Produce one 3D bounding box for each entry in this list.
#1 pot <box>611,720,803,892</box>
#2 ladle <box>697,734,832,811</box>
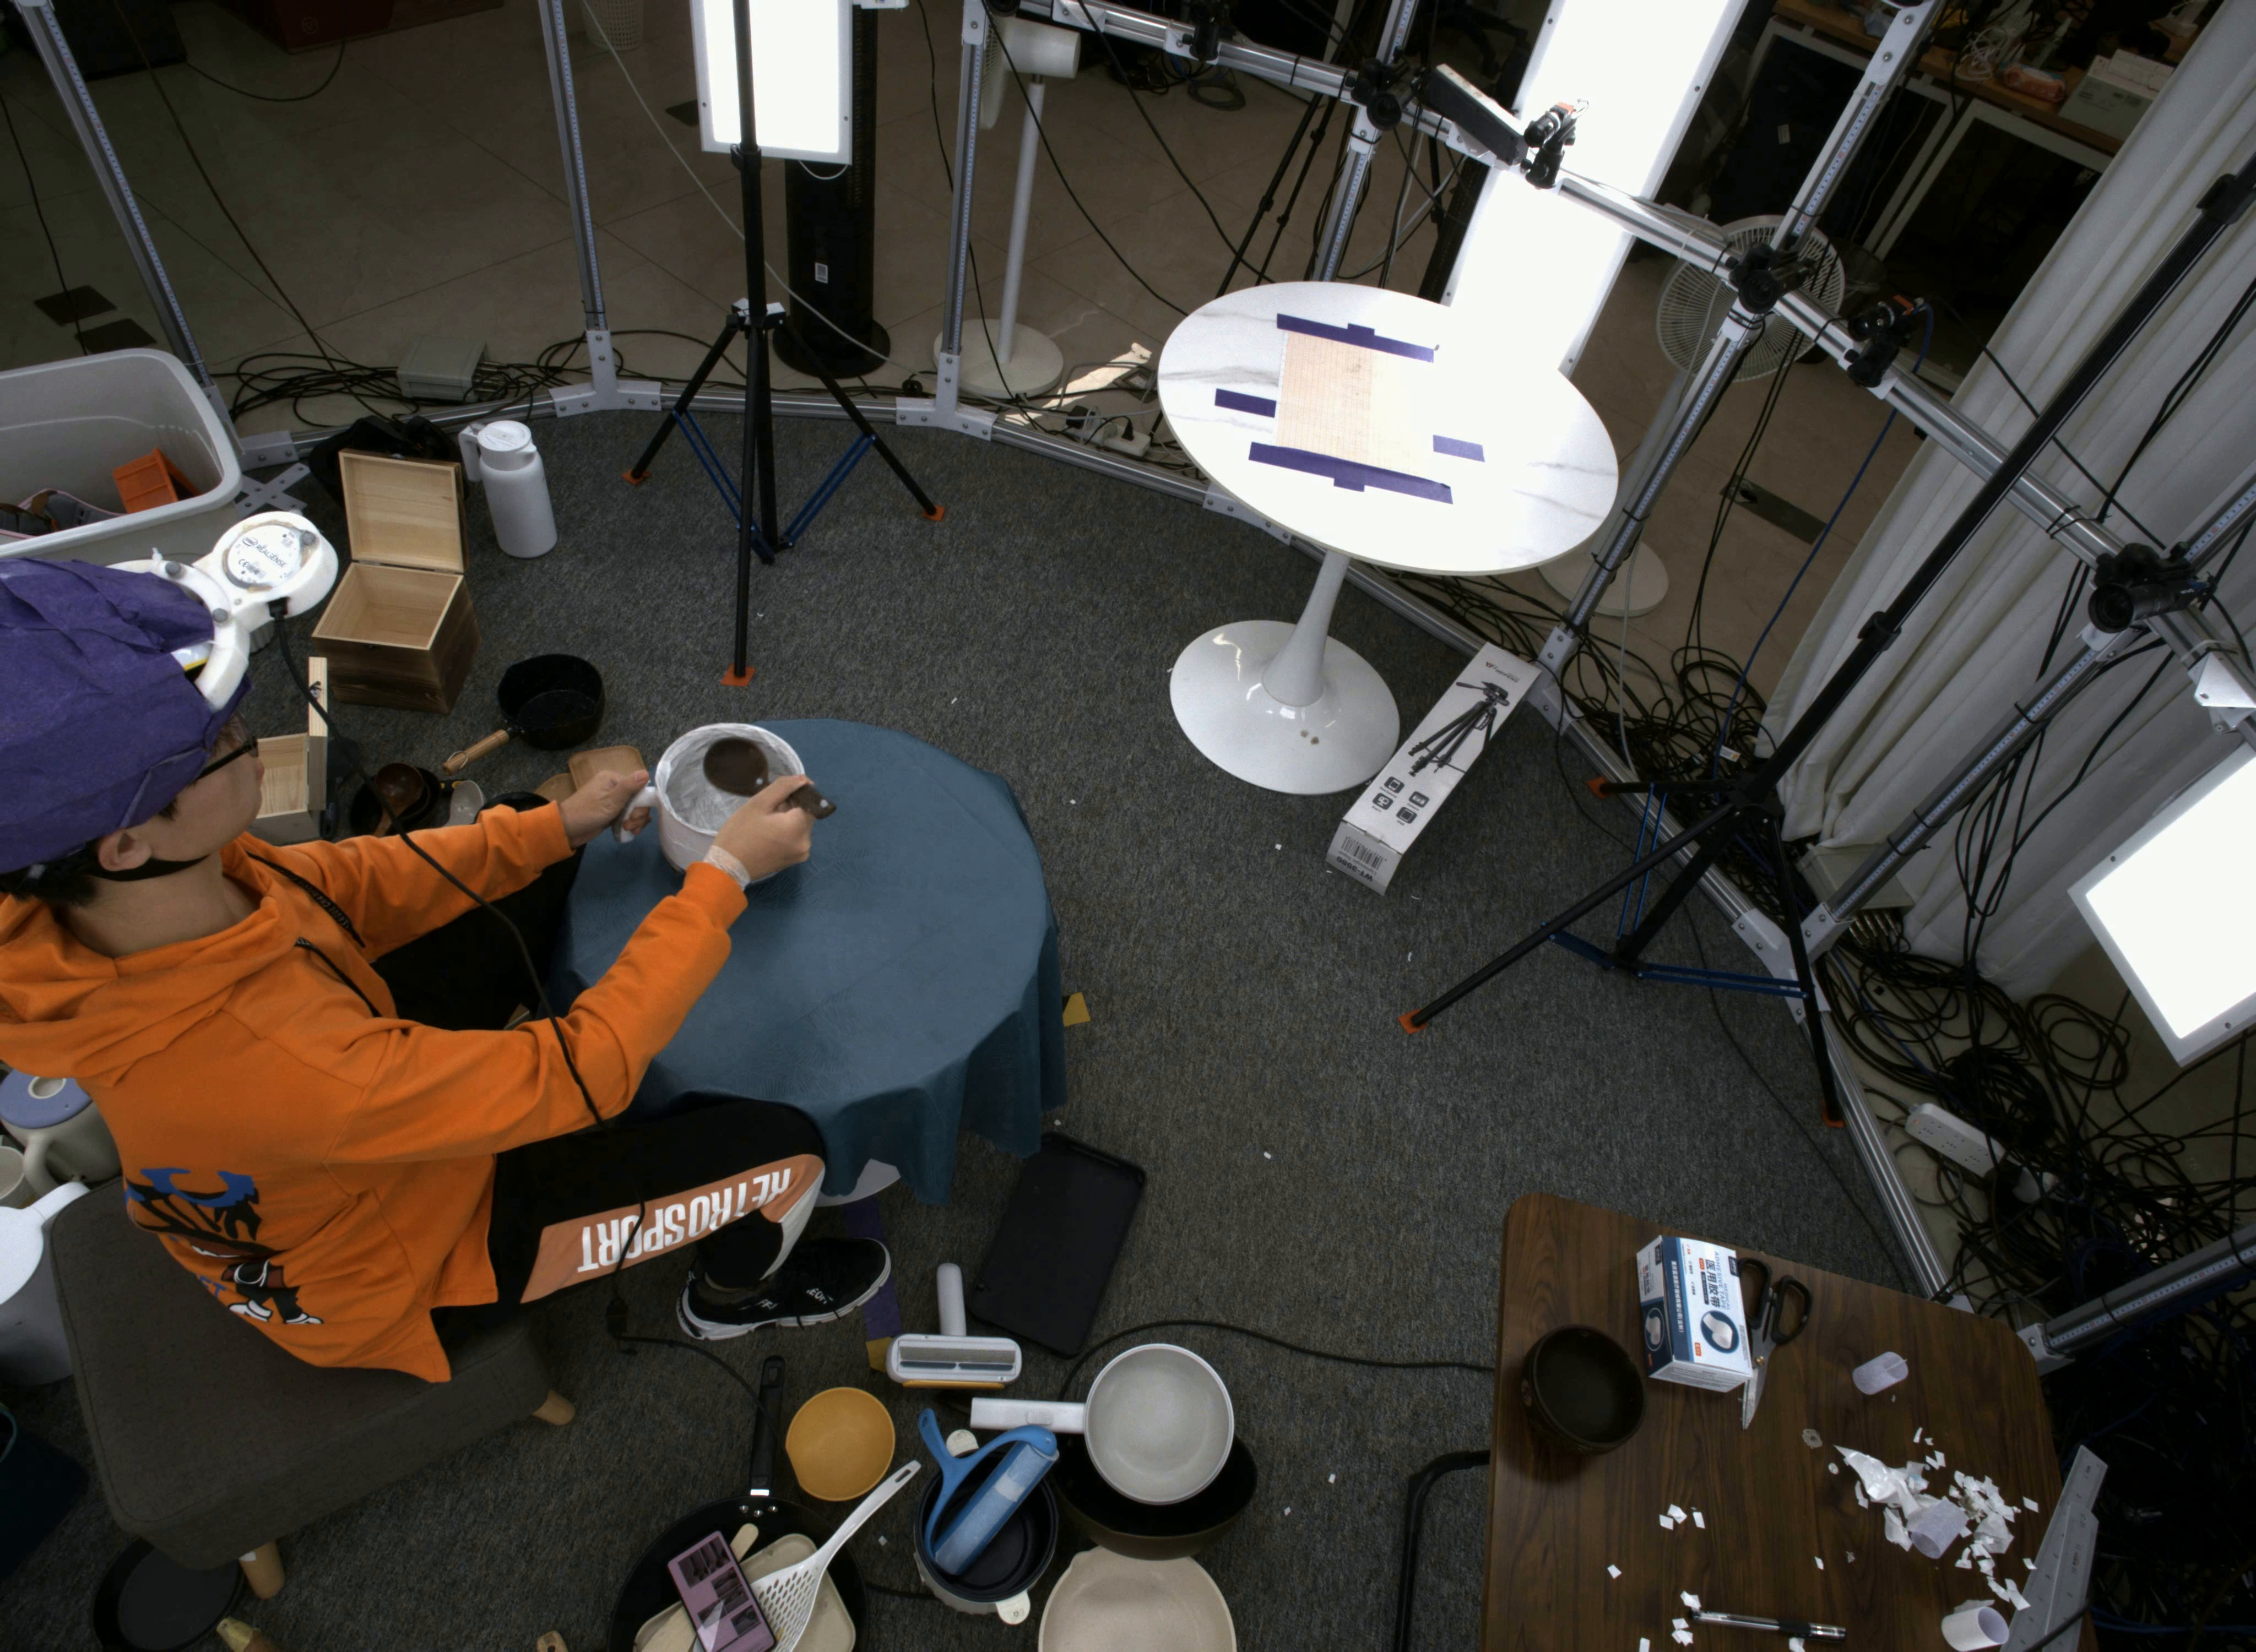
[{"bbox_3d":[-0.520,-0.020,1.586,0.235,0.139,0.175,-2,55,-20],"label":"pot"},{"bbox_3d":[-0.405,-0.063,1.433,0.076,0.073,0.265,-37,25,-27],"label":"ladle"}]
